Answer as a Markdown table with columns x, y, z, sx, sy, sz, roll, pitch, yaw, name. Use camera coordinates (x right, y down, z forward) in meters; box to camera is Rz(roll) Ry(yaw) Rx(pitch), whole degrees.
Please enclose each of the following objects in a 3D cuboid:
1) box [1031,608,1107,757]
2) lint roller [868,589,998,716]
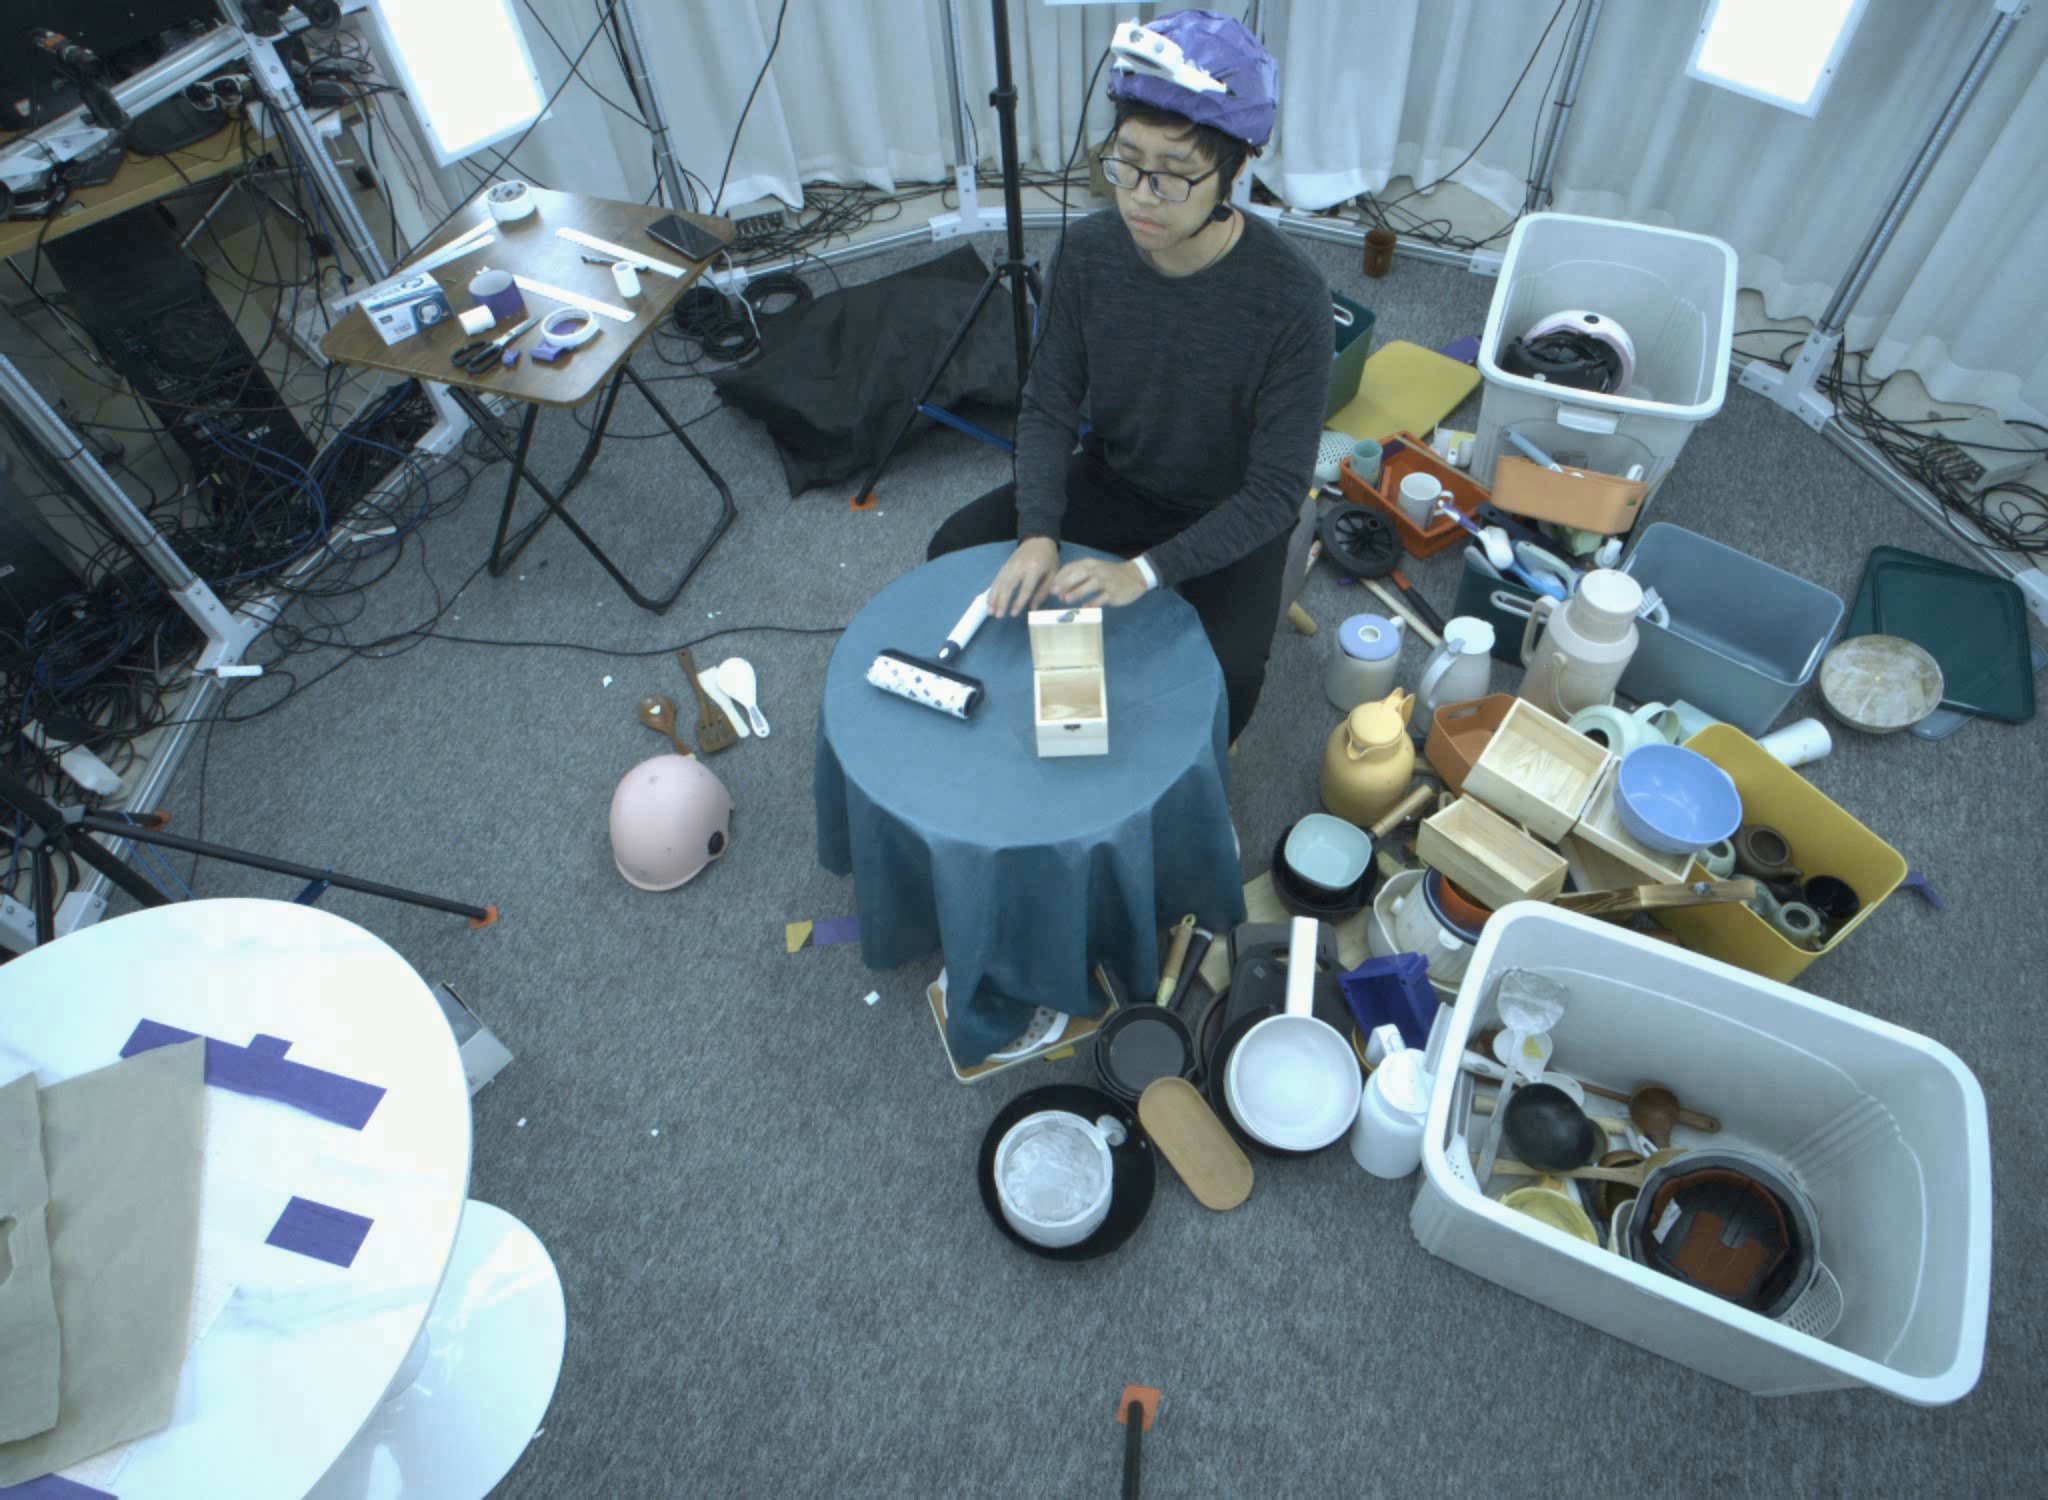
| x | y | z | sx | sy | sz | roll | pitch | yaw | name |
| --- | --- | --- | --- | --- | --- | --- | --- | --- | --- |
| 0.064 | -0.093 | 1.740 | 0.102 | 0.186 | 0.132 | -3 | 53 | 1 | box |
| -0.107 | -0.169 | 1.885 | 0.174 | 0.051 | 0.247 | 20 | 57 | 17 | lint roller |
